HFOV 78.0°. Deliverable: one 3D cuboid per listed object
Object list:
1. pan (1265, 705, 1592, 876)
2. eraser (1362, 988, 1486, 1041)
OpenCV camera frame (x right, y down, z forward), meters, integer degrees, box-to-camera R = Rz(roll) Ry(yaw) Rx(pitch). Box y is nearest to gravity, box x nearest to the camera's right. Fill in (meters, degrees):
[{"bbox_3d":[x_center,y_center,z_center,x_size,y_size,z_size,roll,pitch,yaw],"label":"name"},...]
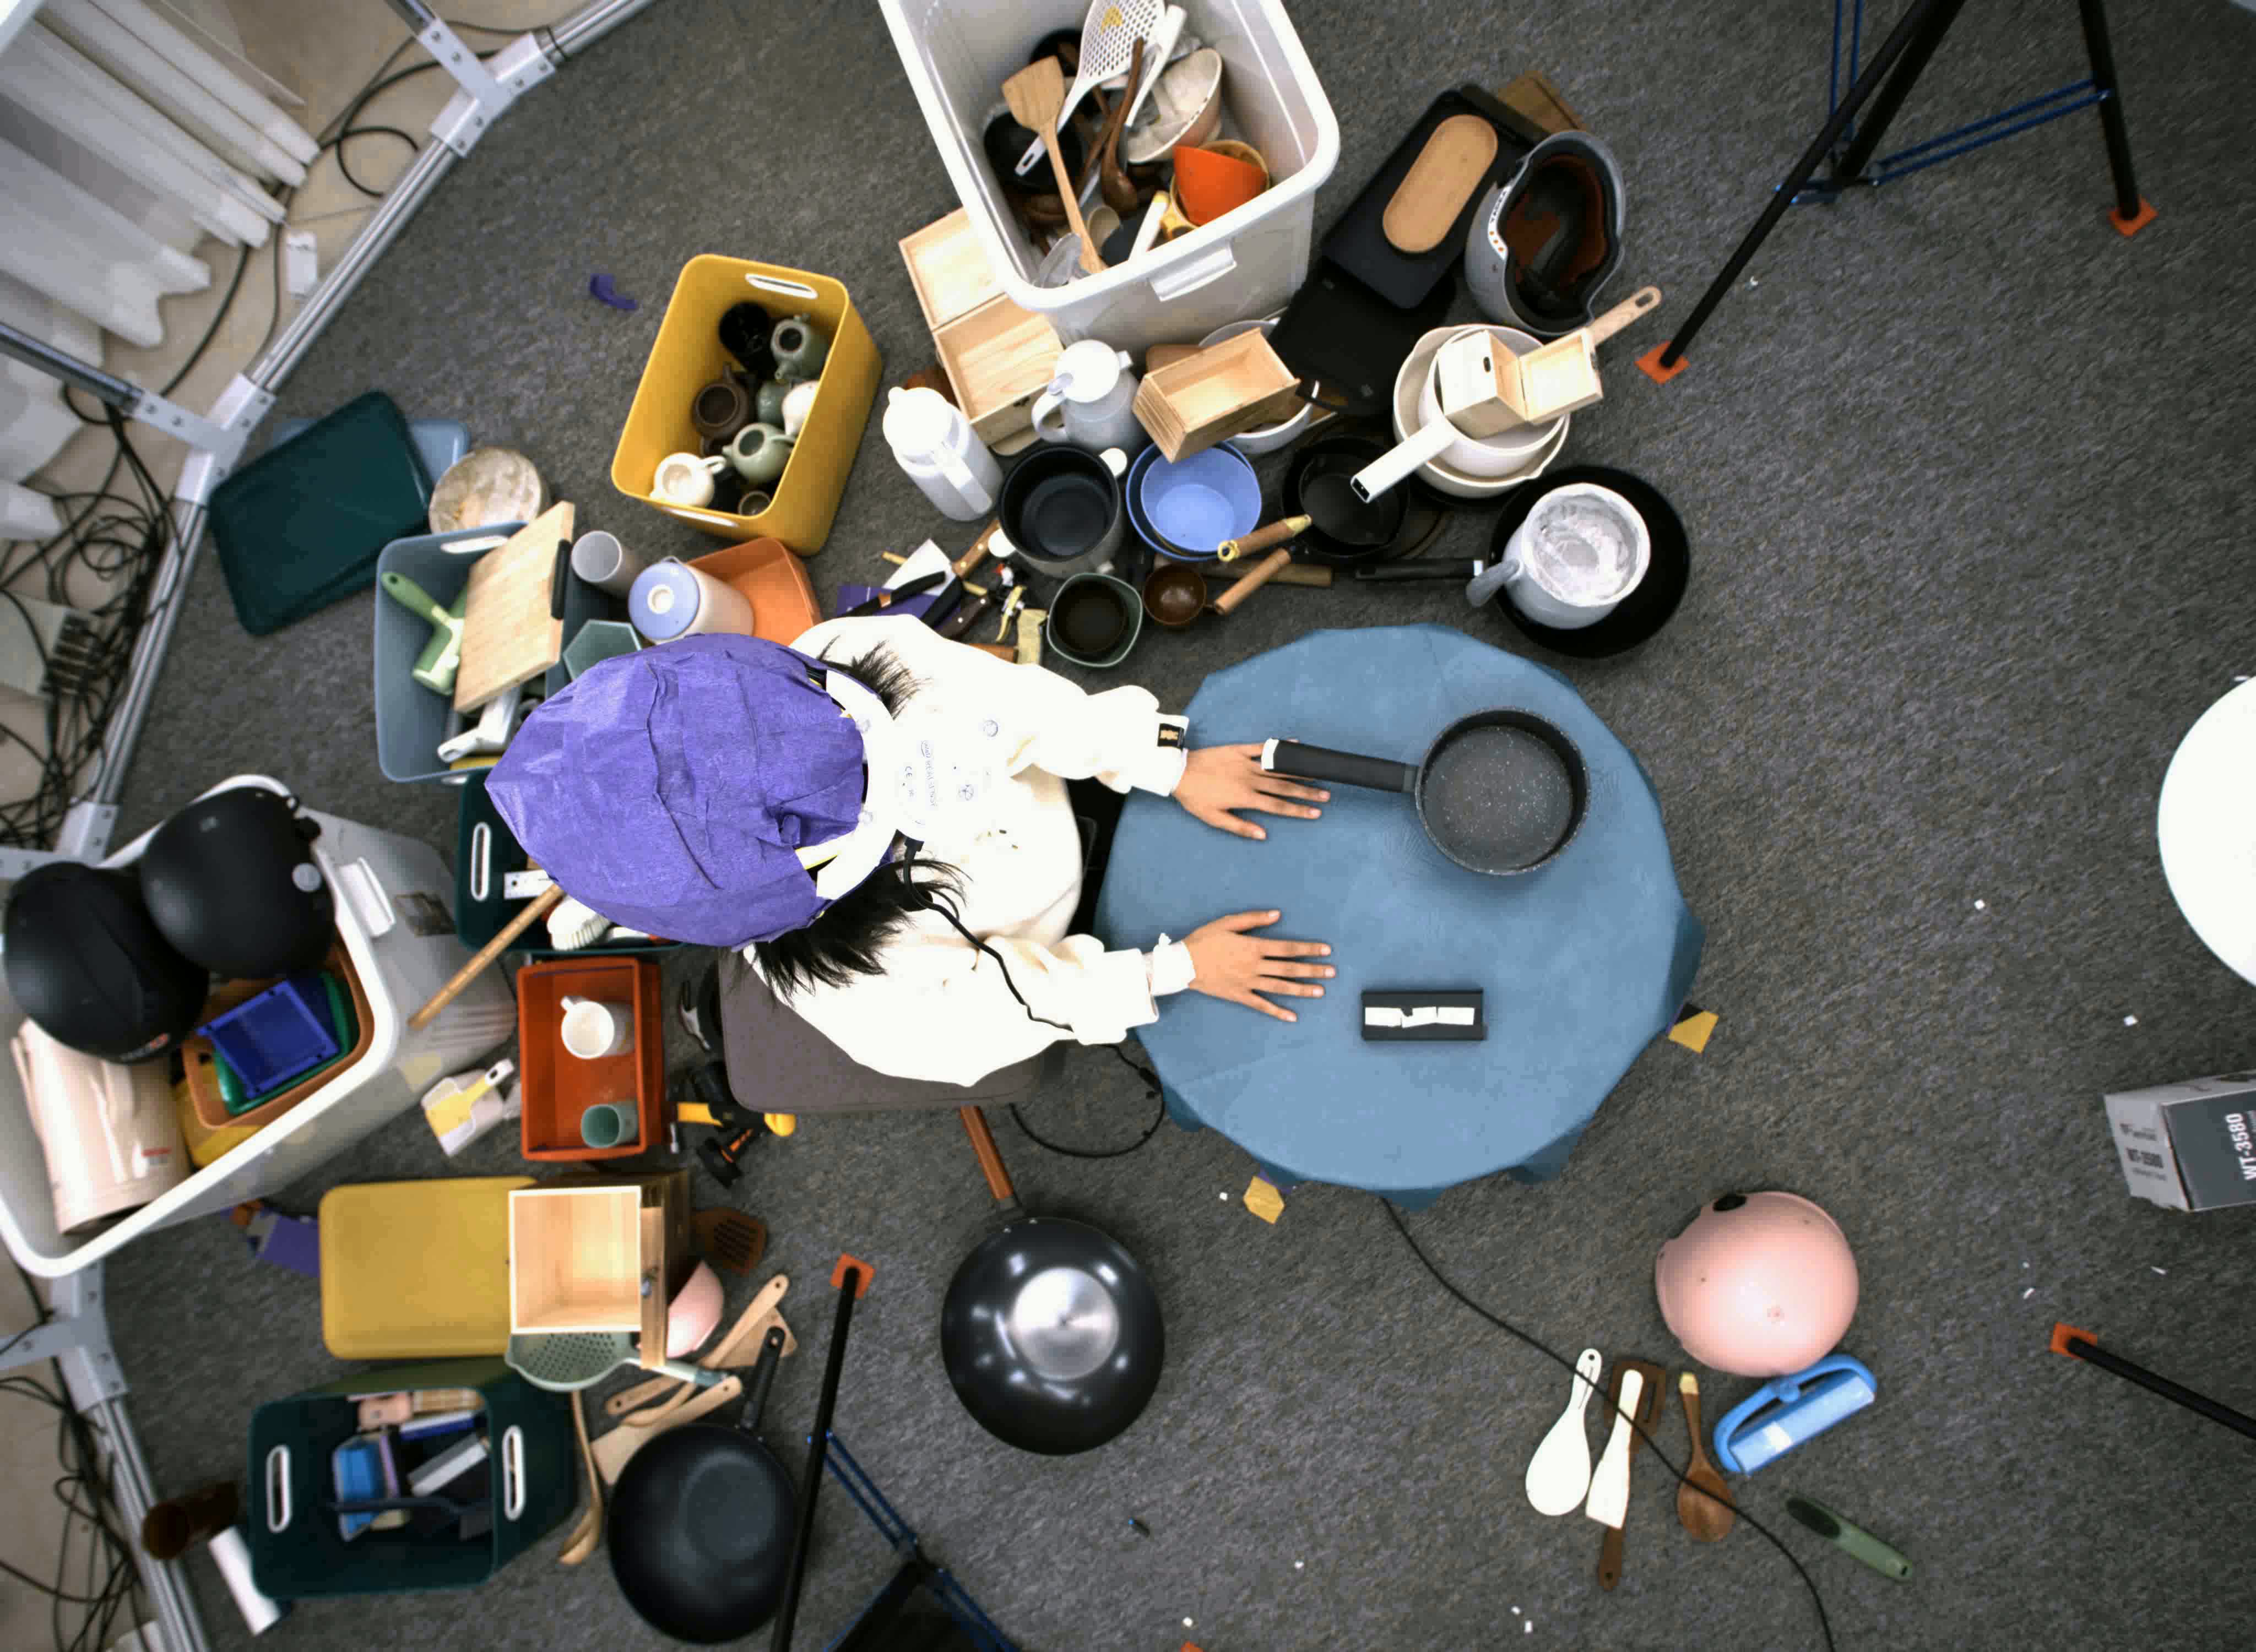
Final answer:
[{"bbox_3d":[0.304,-0.050,1.418,0.329,0.086,0.171,12,88,9],"label":"pan"},{"bbox_3d":[0.307,0.193,1.433,0.126,0.030,0.053,-1,85,12],"label":"eraser"}]
